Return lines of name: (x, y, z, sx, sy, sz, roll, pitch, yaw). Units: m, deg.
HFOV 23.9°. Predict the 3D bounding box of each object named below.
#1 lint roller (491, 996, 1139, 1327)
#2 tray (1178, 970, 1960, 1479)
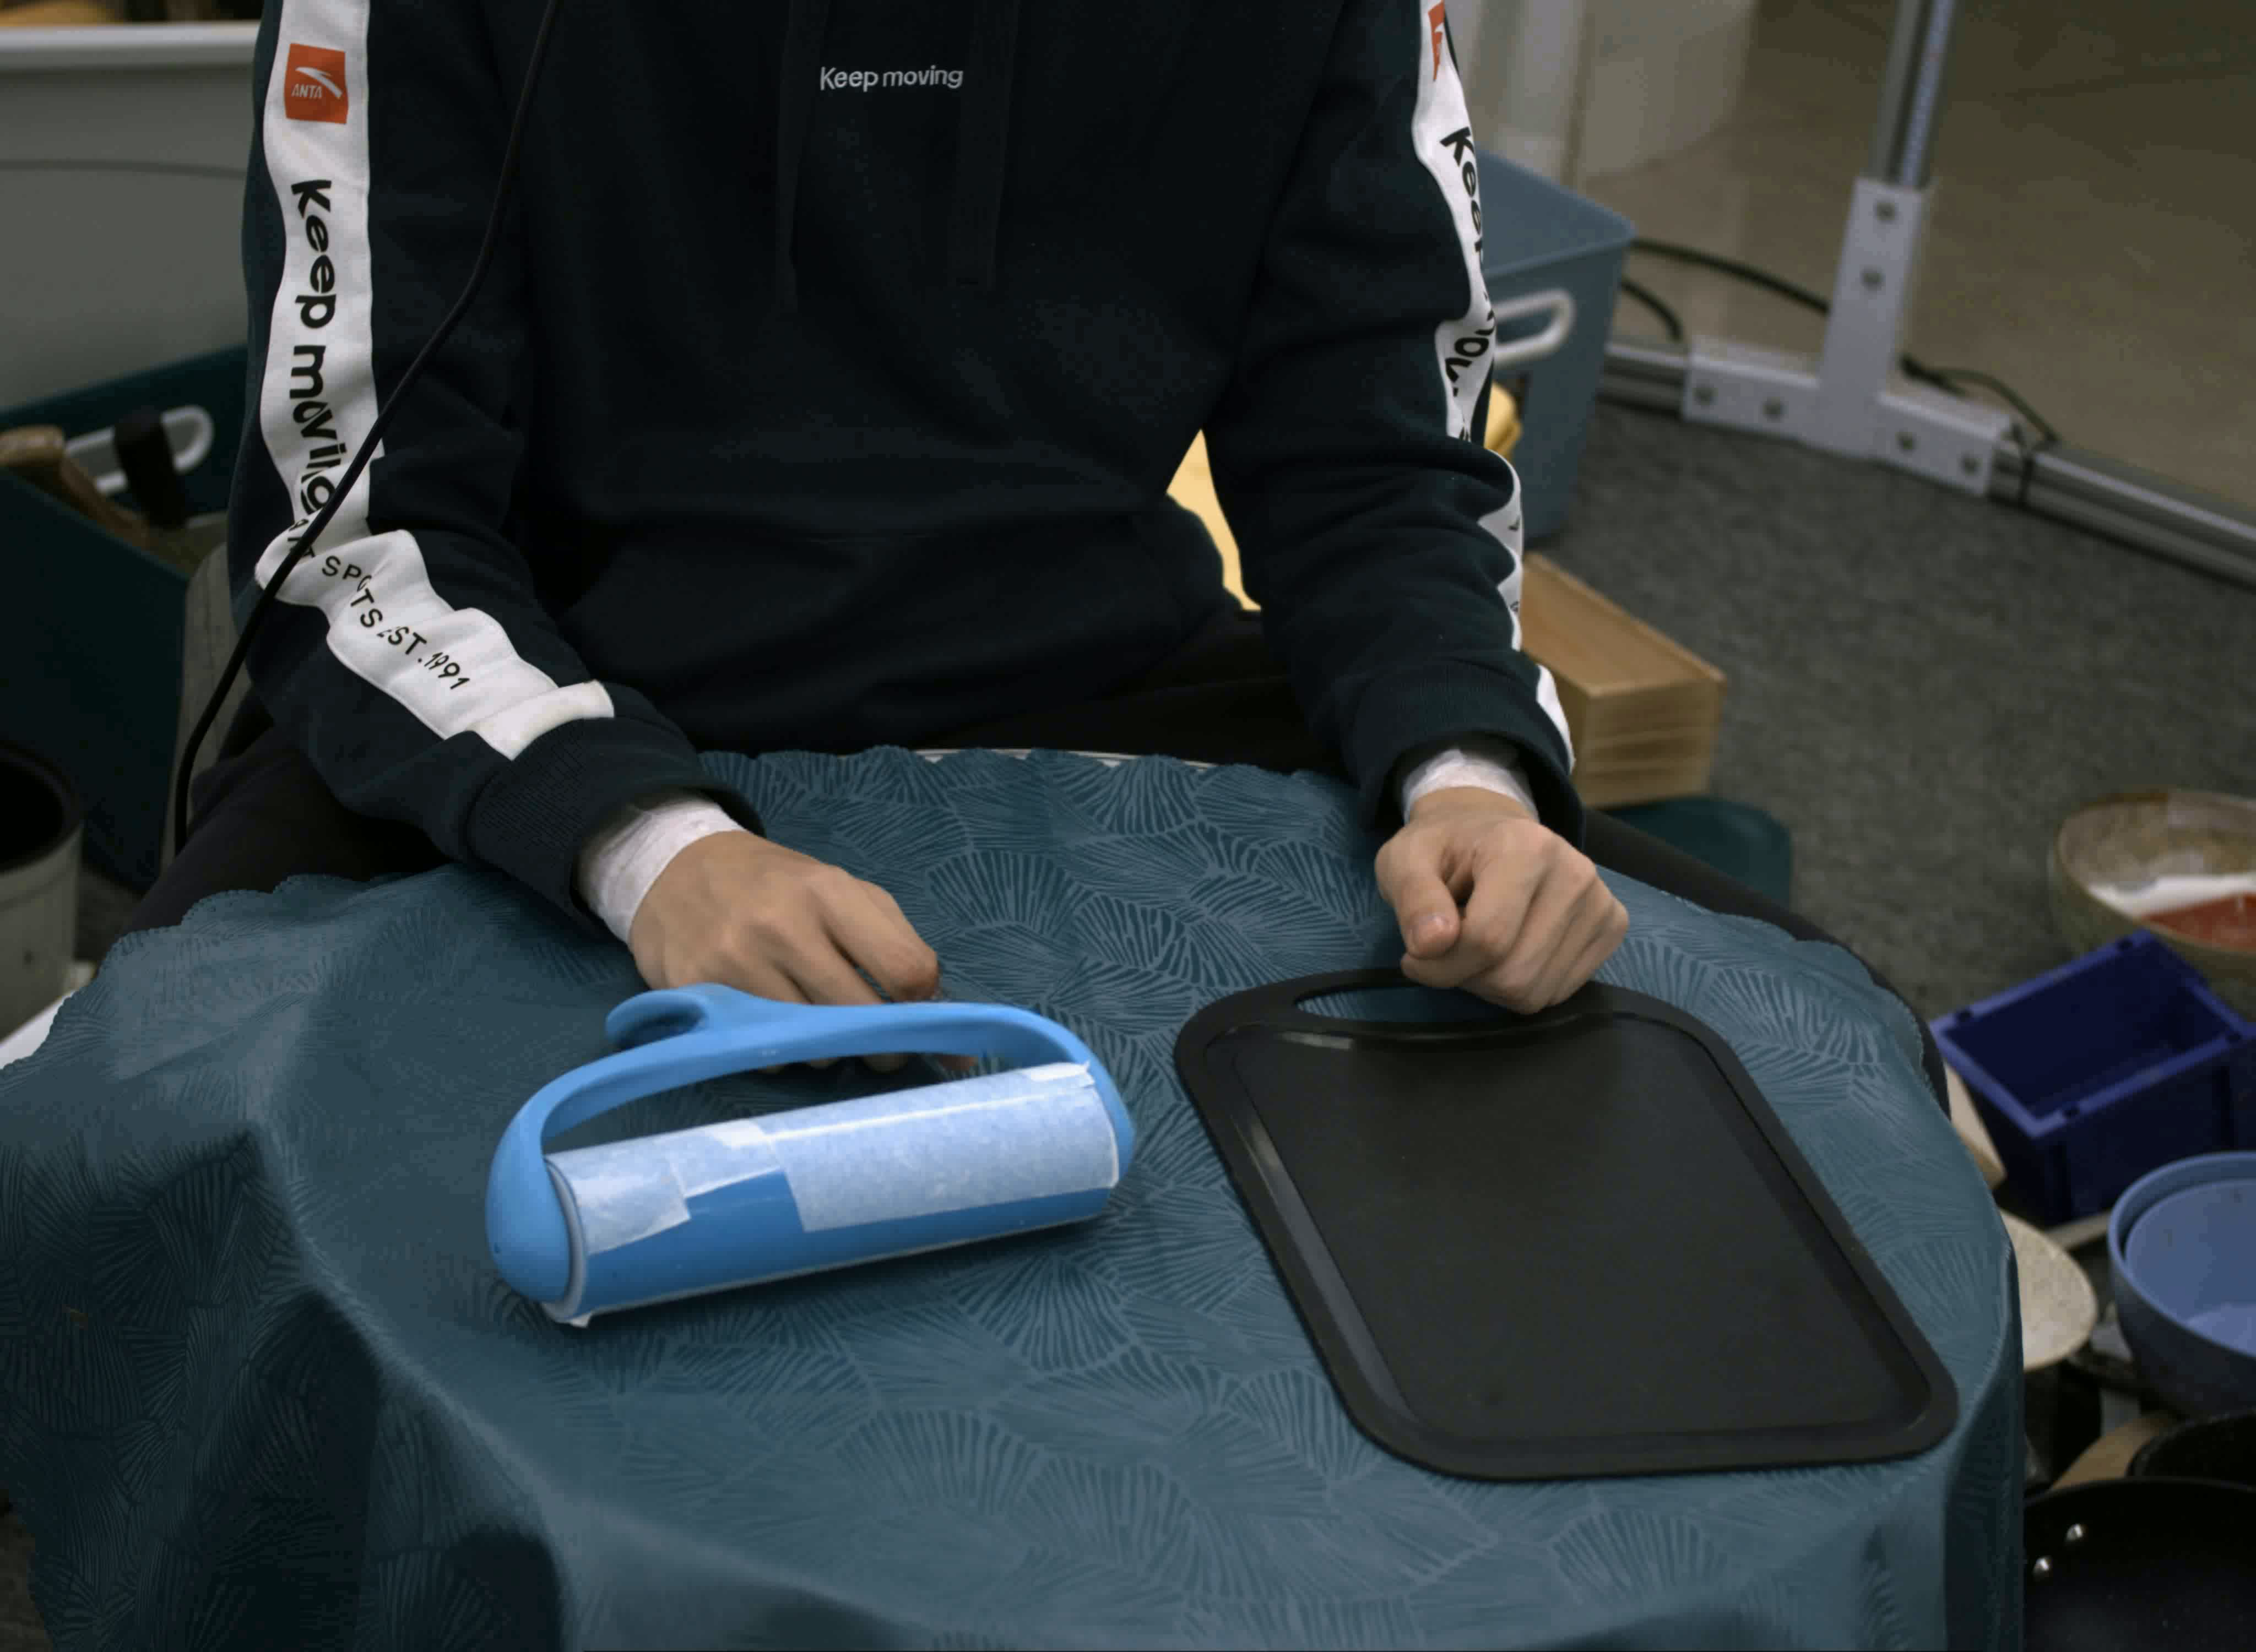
lint roller: (-0.129, 0.091, 1.771, 0.227, 0.067, 0.182, -12, 32, -29)
tray: (0.141, 0.127, 1.815, 0.210, 0.010, 0.328, -1, 27, -14)
